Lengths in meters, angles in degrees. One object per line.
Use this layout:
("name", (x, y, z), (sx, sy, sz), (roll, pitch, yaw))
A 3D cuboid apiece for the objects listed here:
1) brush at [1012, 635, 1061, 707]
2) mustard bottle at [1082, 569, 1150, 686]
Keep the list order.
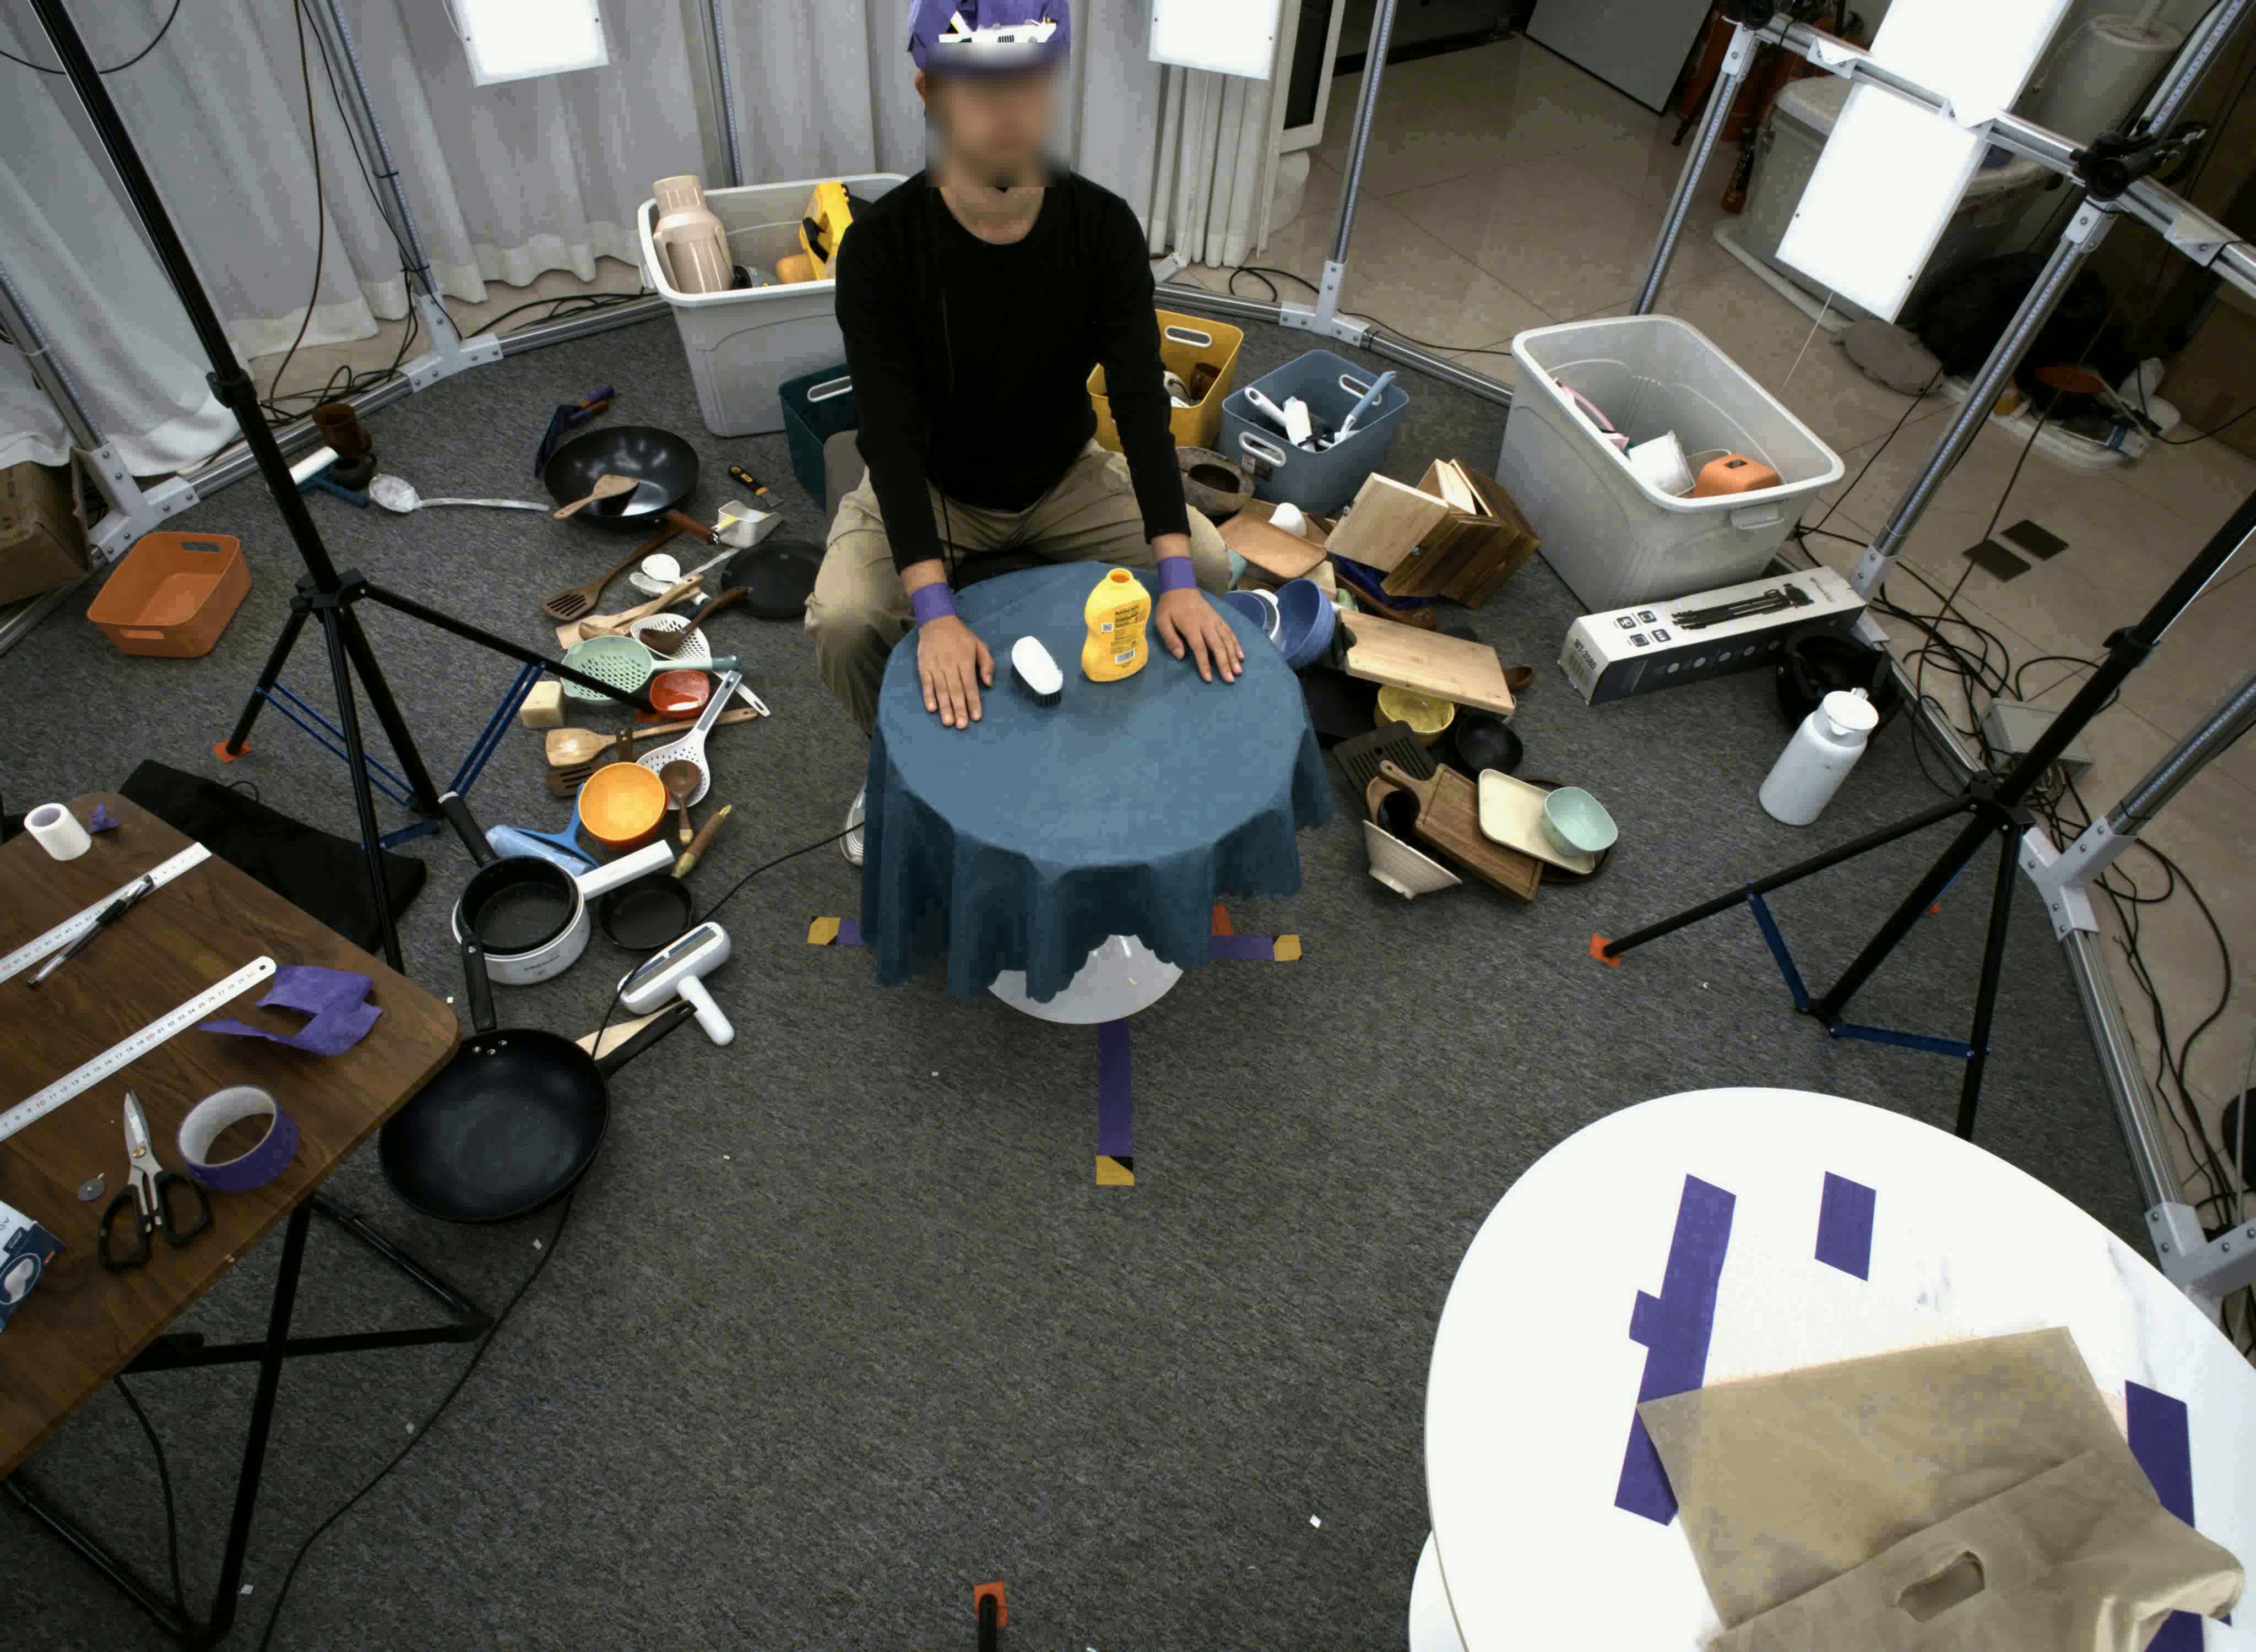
("brush", (-0.129, -0.225, 1.805), (0.050, 0.071, 0.101), (-20, 55, -22))
("mustard bottle", (-0.017, -0.280, 1.801), (0.098, 0.168, 0.060), (-24, 50, -22))
